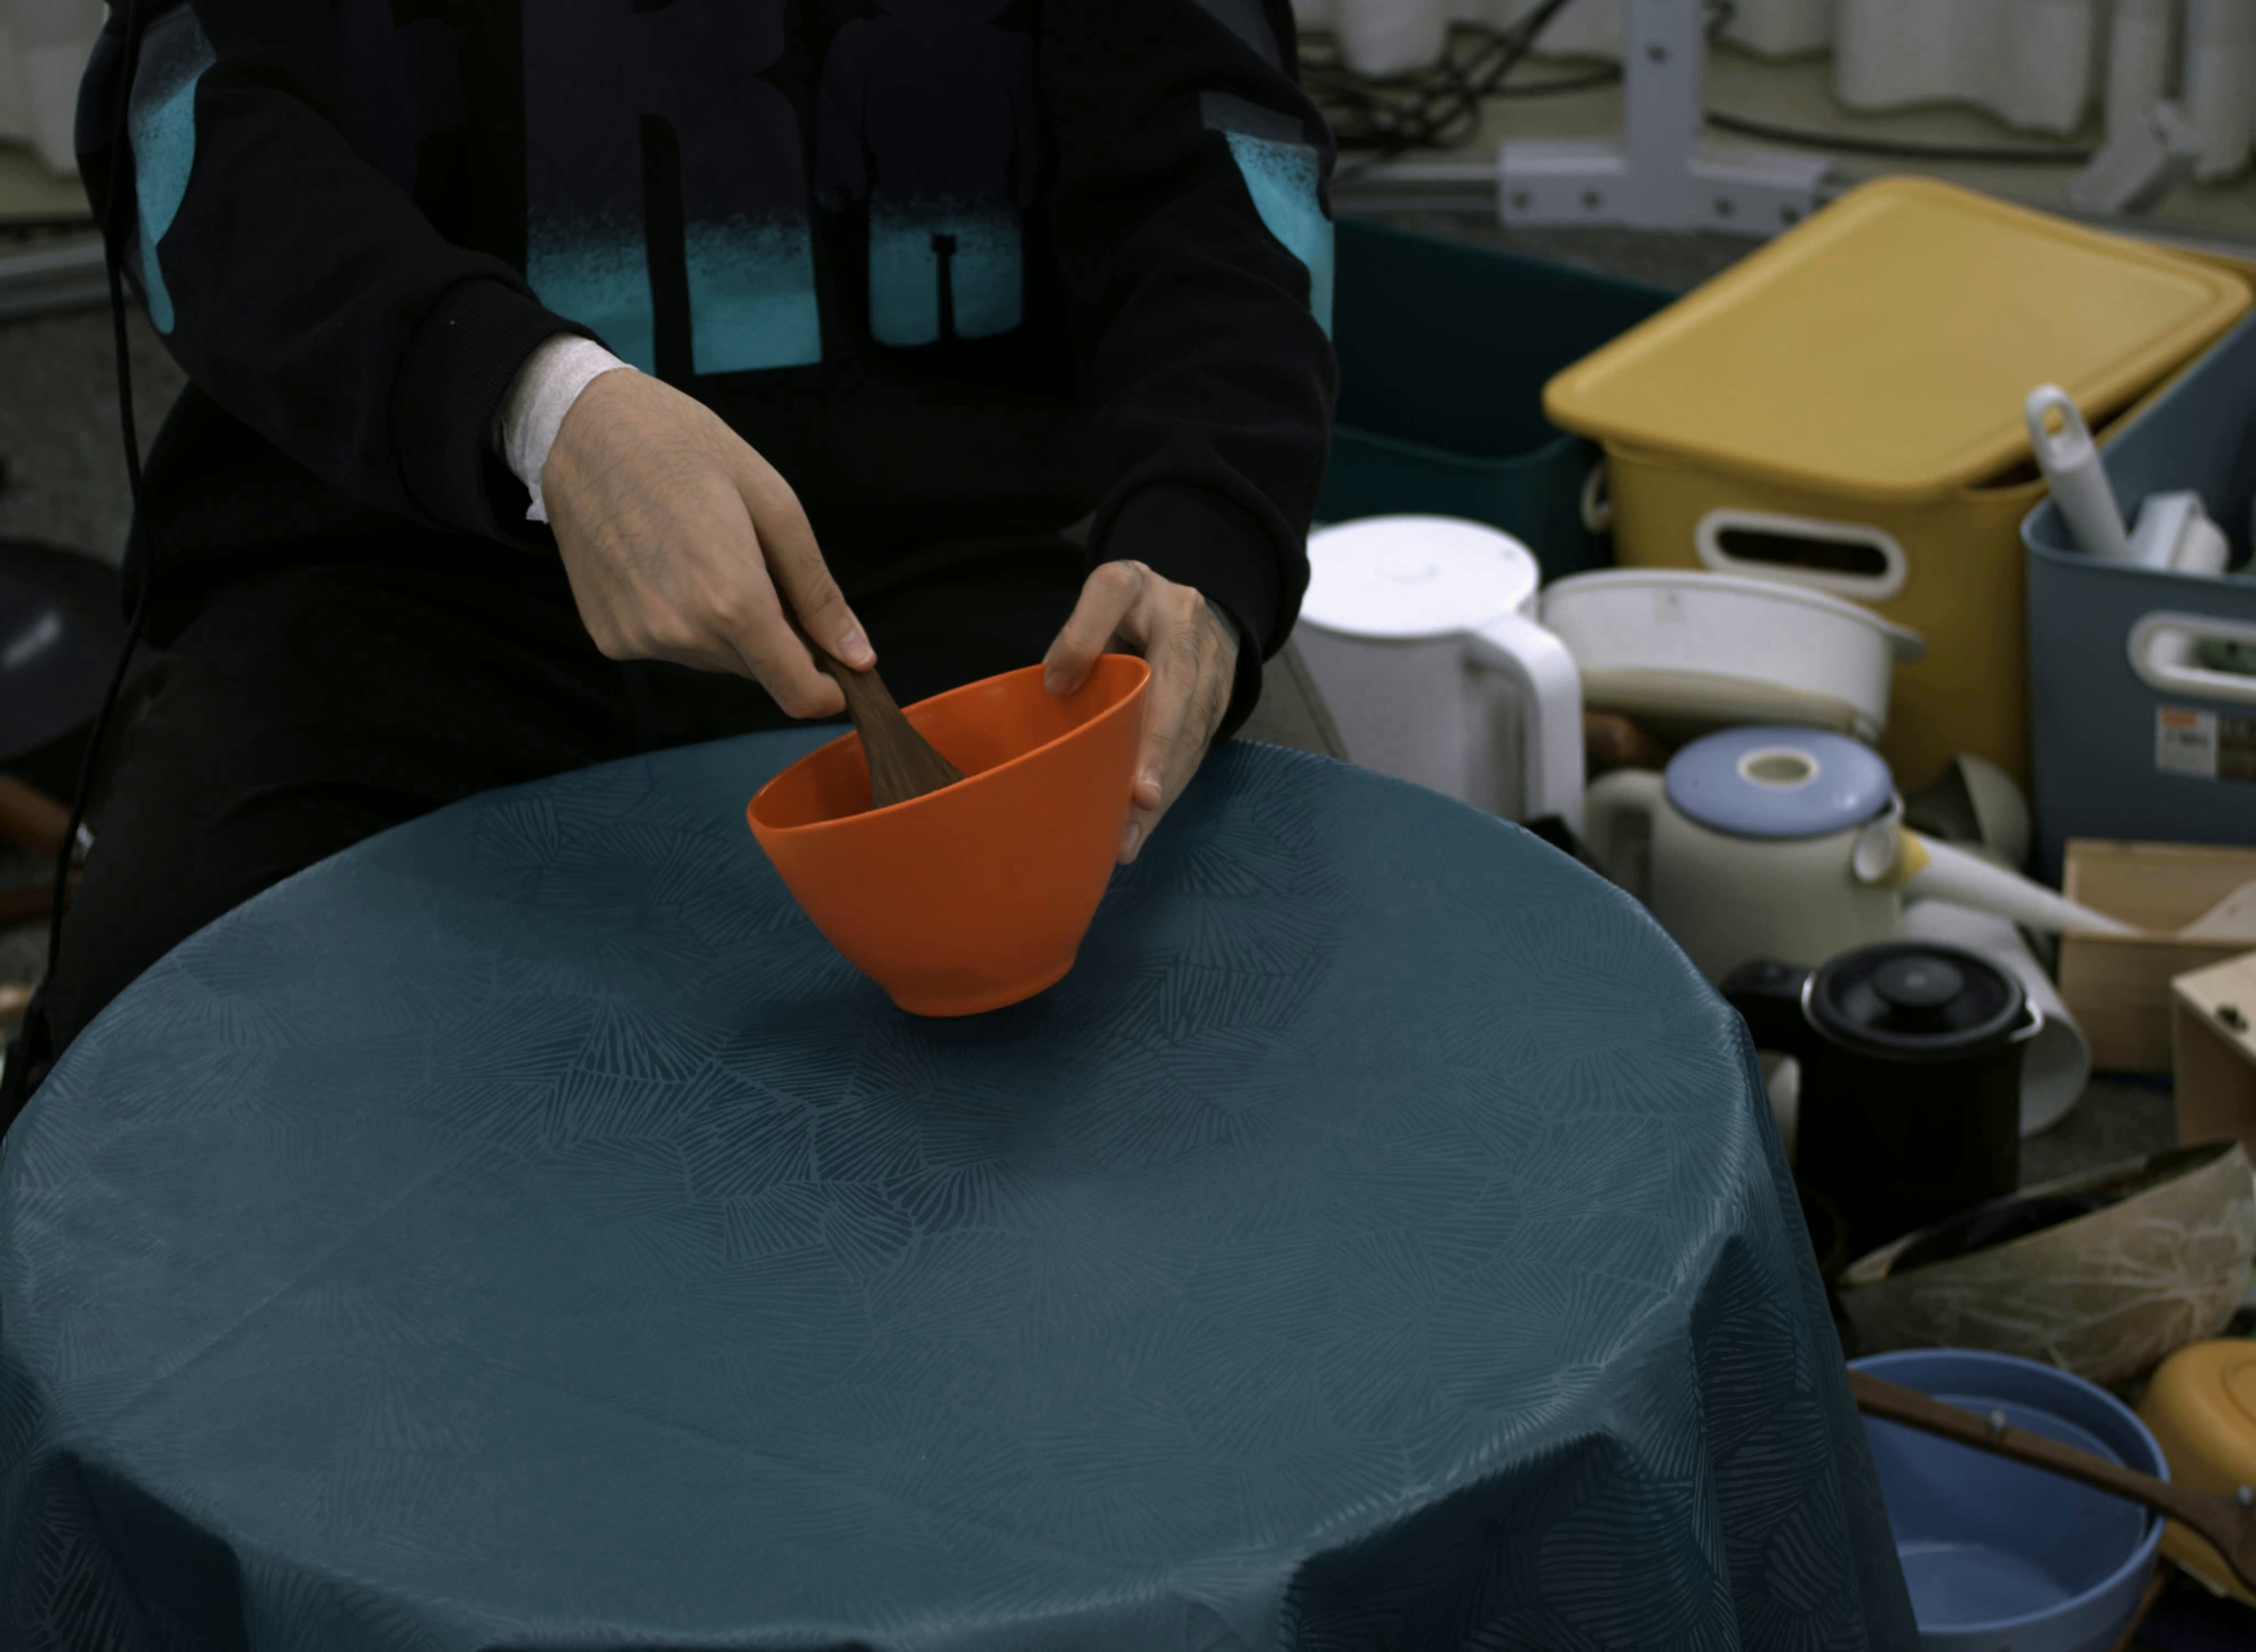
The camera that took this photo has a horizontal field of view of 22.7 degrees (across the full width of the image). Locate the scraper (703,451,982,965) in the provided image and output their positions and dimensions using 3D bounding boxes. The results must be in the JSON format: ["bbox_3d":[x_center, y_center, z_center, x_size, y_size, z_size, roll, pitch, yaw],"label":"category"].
[{"bbox_3d":[-0.091,-0.043,1.963,0.076,0.010,0.213,-15,69,-46],"label":"scraper"}]

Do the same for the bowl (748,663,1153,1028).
[{"bbox_3d":[-0.052,0.010,1.941,0.147,0.104,0.150,-12,19,5],"label":"bowl"}]
